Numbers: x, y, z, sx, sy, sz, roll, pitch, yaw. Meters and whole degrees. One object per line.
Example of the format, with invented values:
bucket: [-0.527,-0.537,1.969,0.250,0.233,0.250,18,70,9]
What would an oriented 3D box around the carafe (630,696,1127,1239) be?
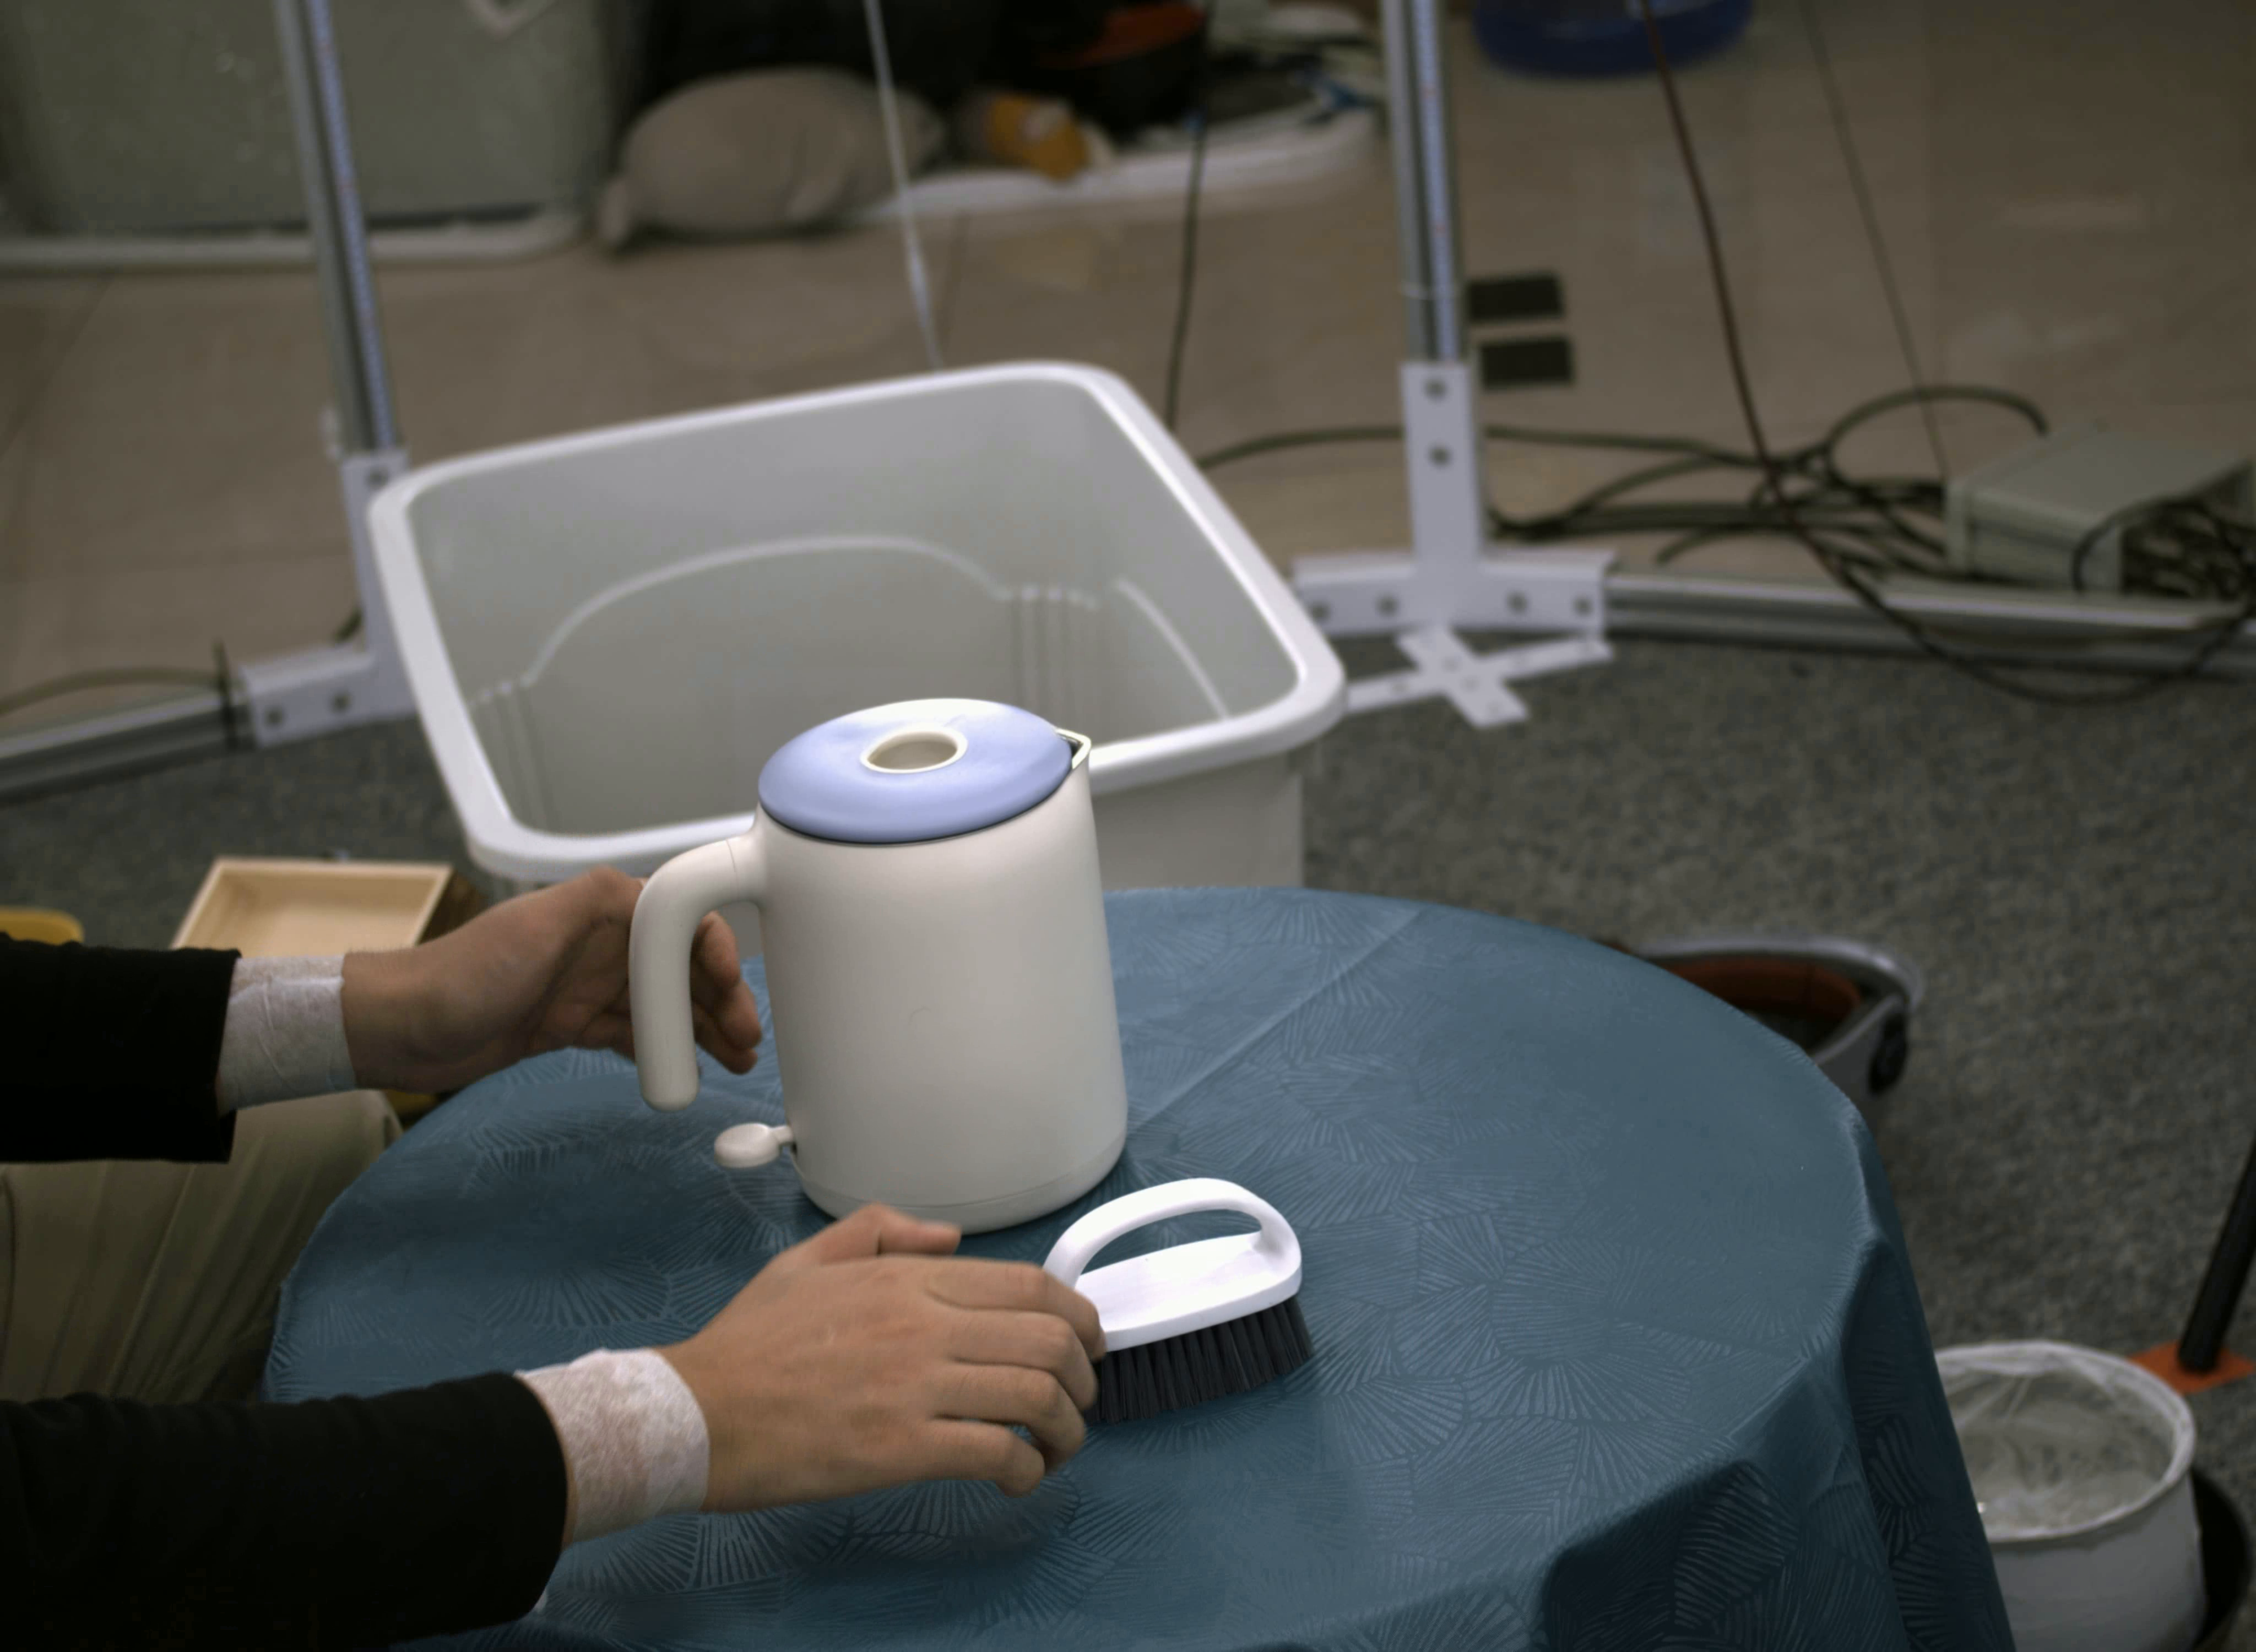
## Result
carafe: [-0.096,0.058,2.139,0.190,0.185,0.130,-14,26,-12]

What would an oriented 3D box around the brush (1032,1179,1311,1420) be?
brush: [0.013,0.162,2.007,0.099,0.073,0.049,-13,27,-15]
